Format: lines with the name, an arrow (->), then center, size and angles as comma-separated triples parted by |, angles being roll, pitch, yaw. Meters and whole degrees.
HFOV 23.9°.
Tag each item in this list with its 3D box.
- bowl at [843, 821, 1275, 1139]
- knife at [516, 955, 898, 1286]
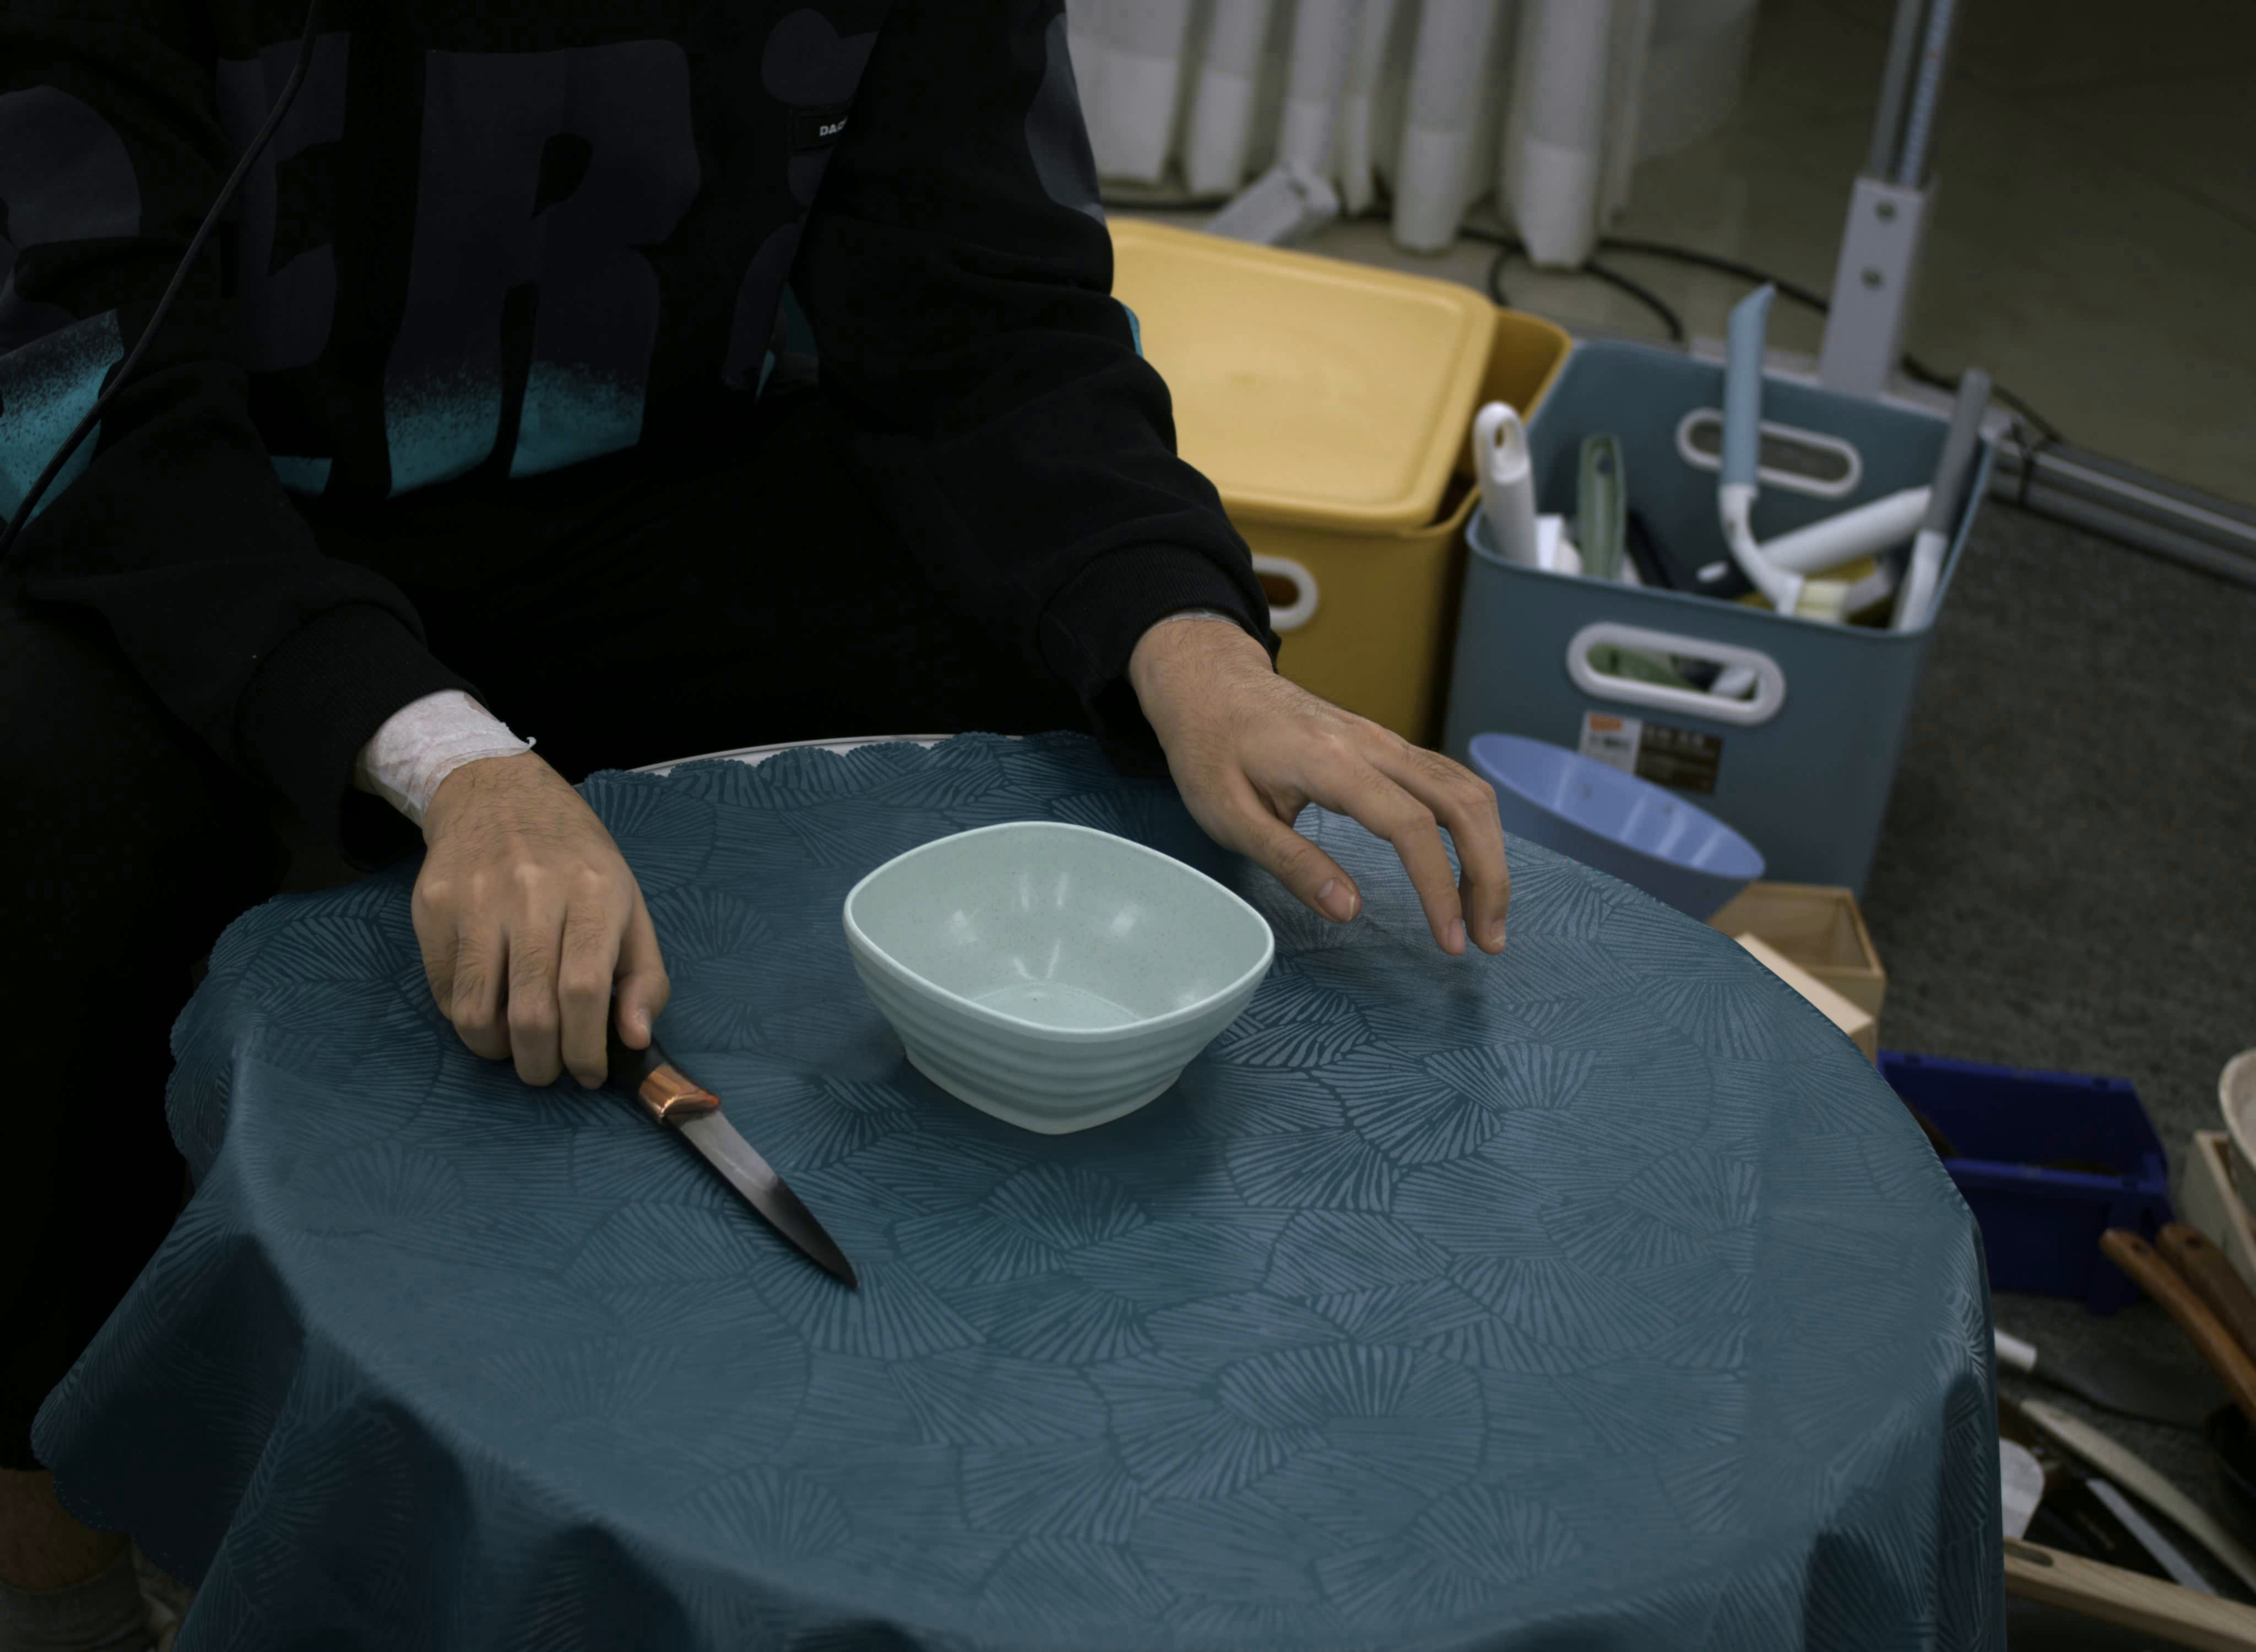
bowl -> -0.026, 0.060, 1.862 | 0.151, 0.058, 0.152 | 4, 28, -3
knife -> -0.146, 0.099, 1.806 | 0.026, 0.017, 0.227 | -1, 27, -39
